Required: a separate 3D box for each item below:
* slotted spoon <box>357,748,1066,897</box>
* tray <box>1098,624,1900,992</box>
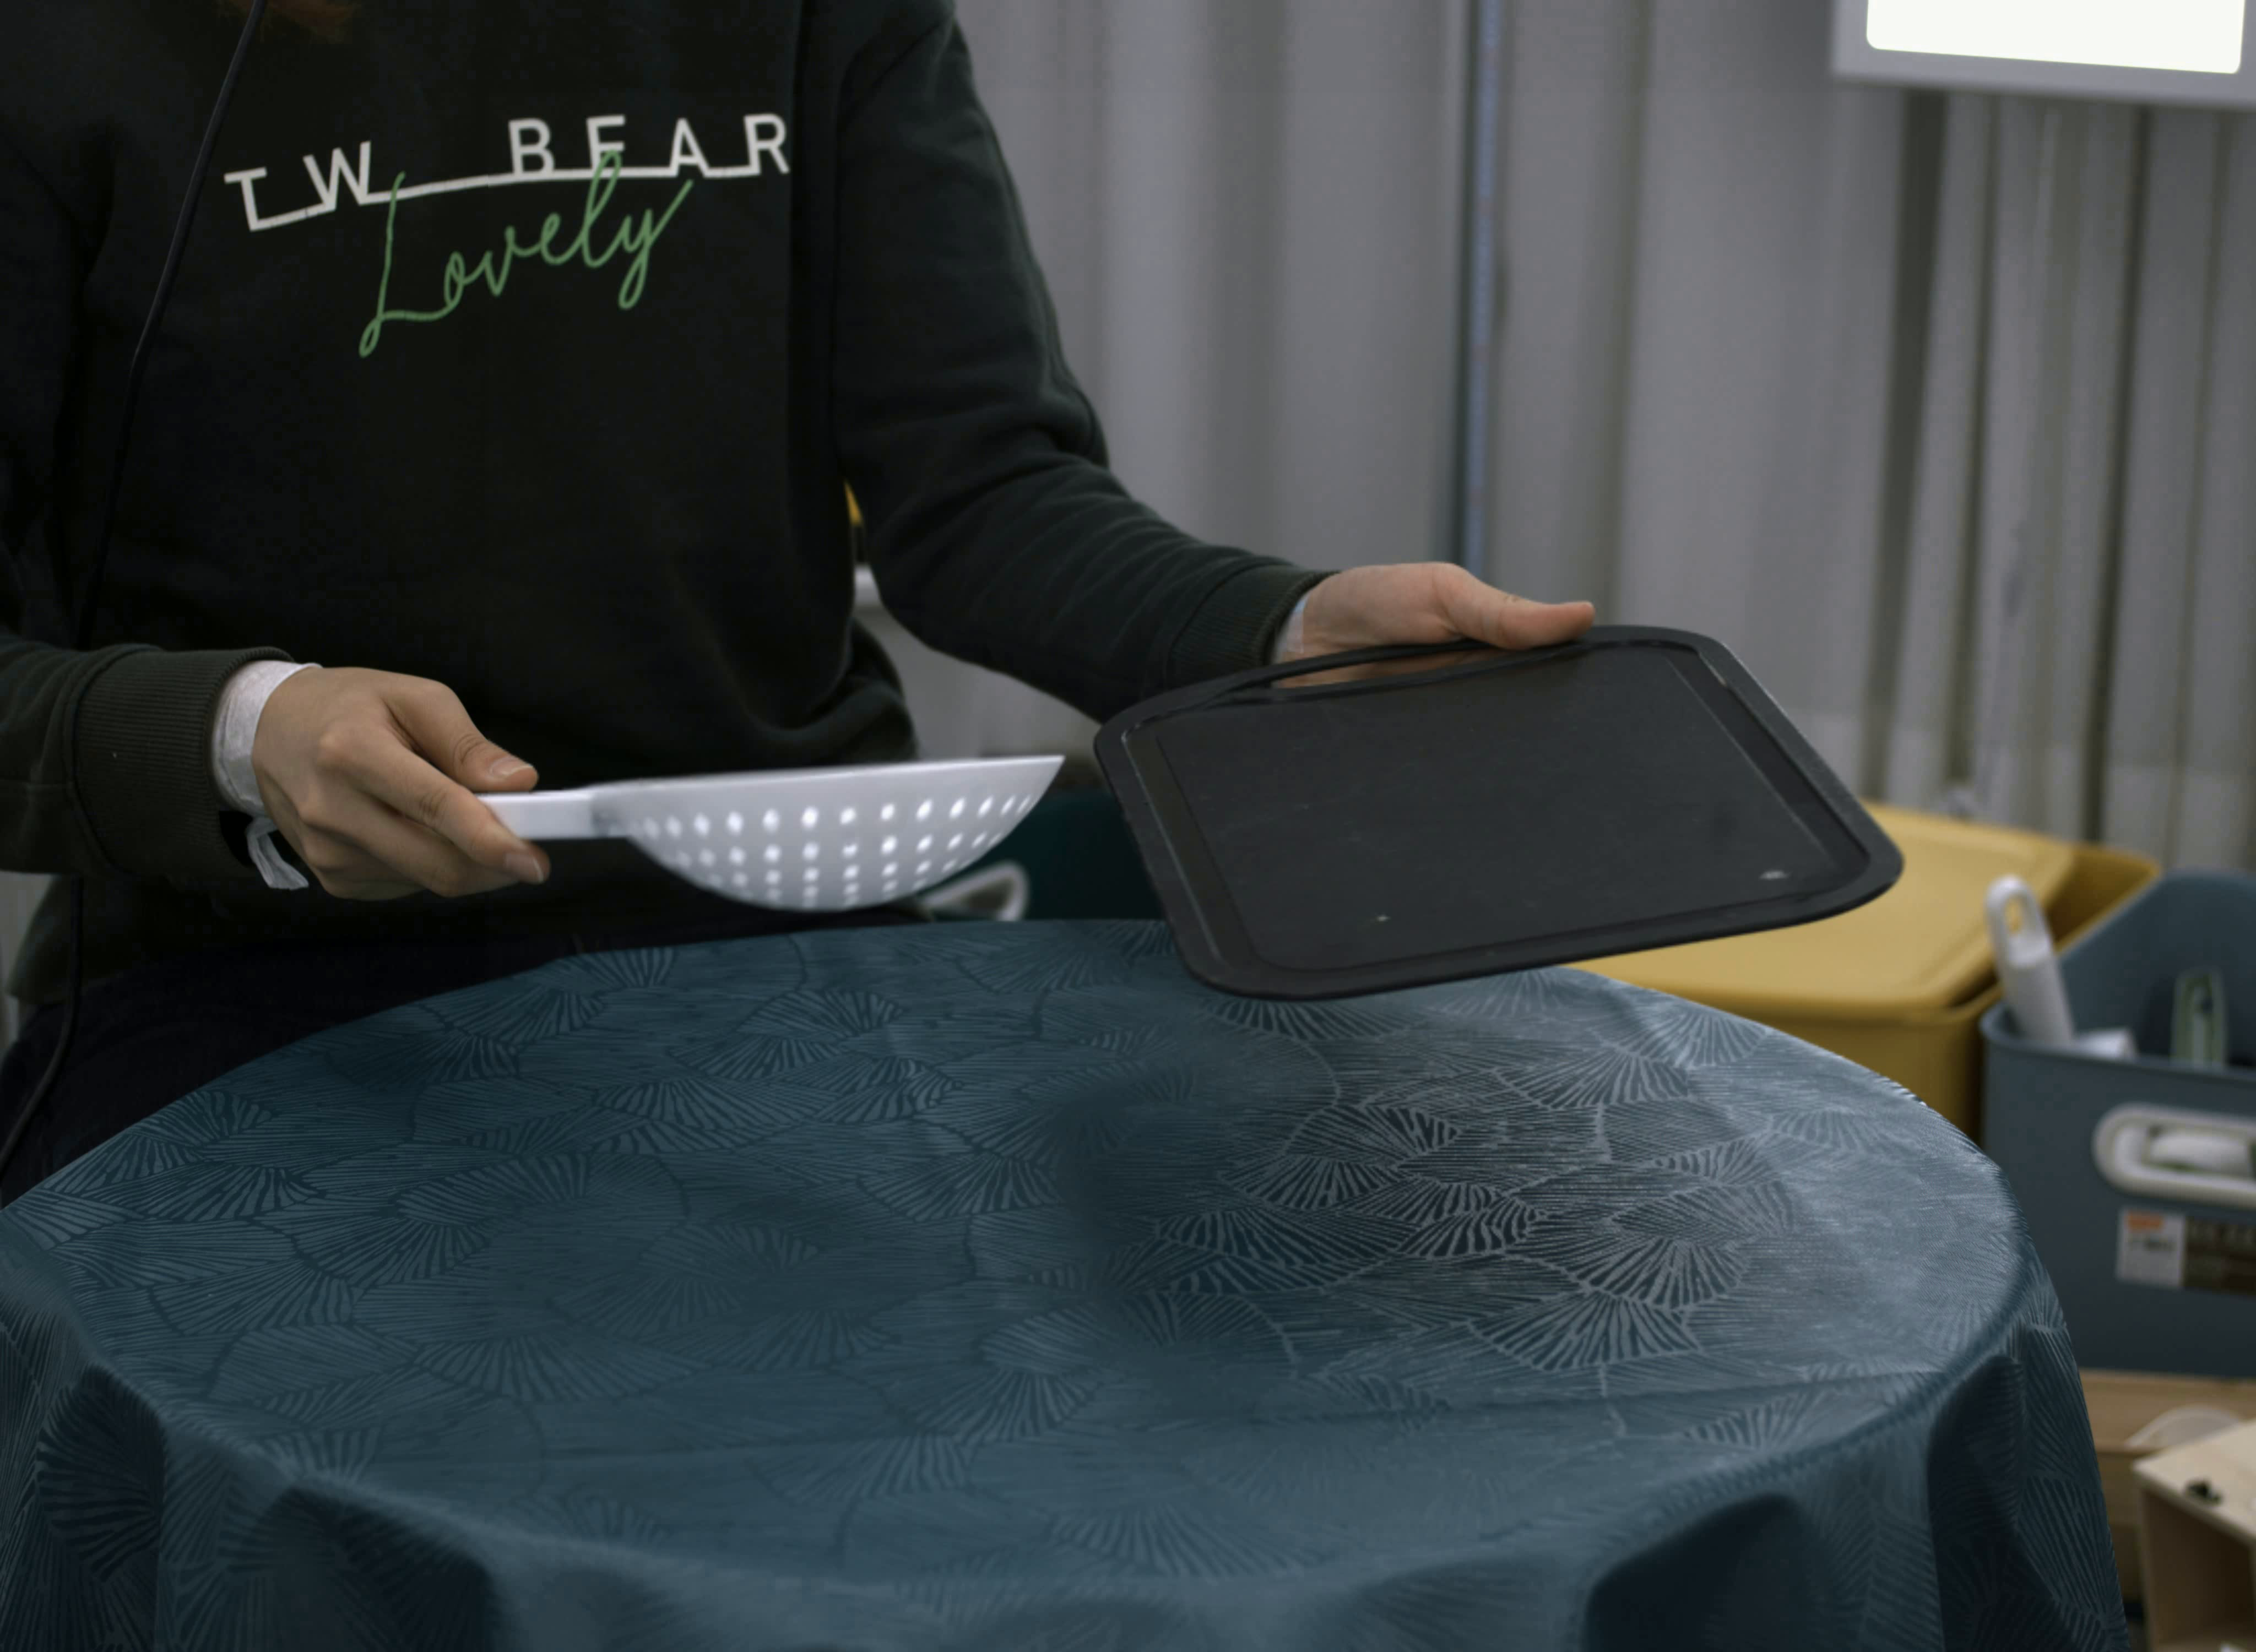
[{"bbox_3d":[-0.147,-0.008,1.601,0.137,0.046,0.346,-1,4,-35],"label":"slotted spoon"},{"bbox_3d":[0.103,-0.013,1.613,0.211,0.010,0.323,-8,19,-4],"label":"tray"}]
